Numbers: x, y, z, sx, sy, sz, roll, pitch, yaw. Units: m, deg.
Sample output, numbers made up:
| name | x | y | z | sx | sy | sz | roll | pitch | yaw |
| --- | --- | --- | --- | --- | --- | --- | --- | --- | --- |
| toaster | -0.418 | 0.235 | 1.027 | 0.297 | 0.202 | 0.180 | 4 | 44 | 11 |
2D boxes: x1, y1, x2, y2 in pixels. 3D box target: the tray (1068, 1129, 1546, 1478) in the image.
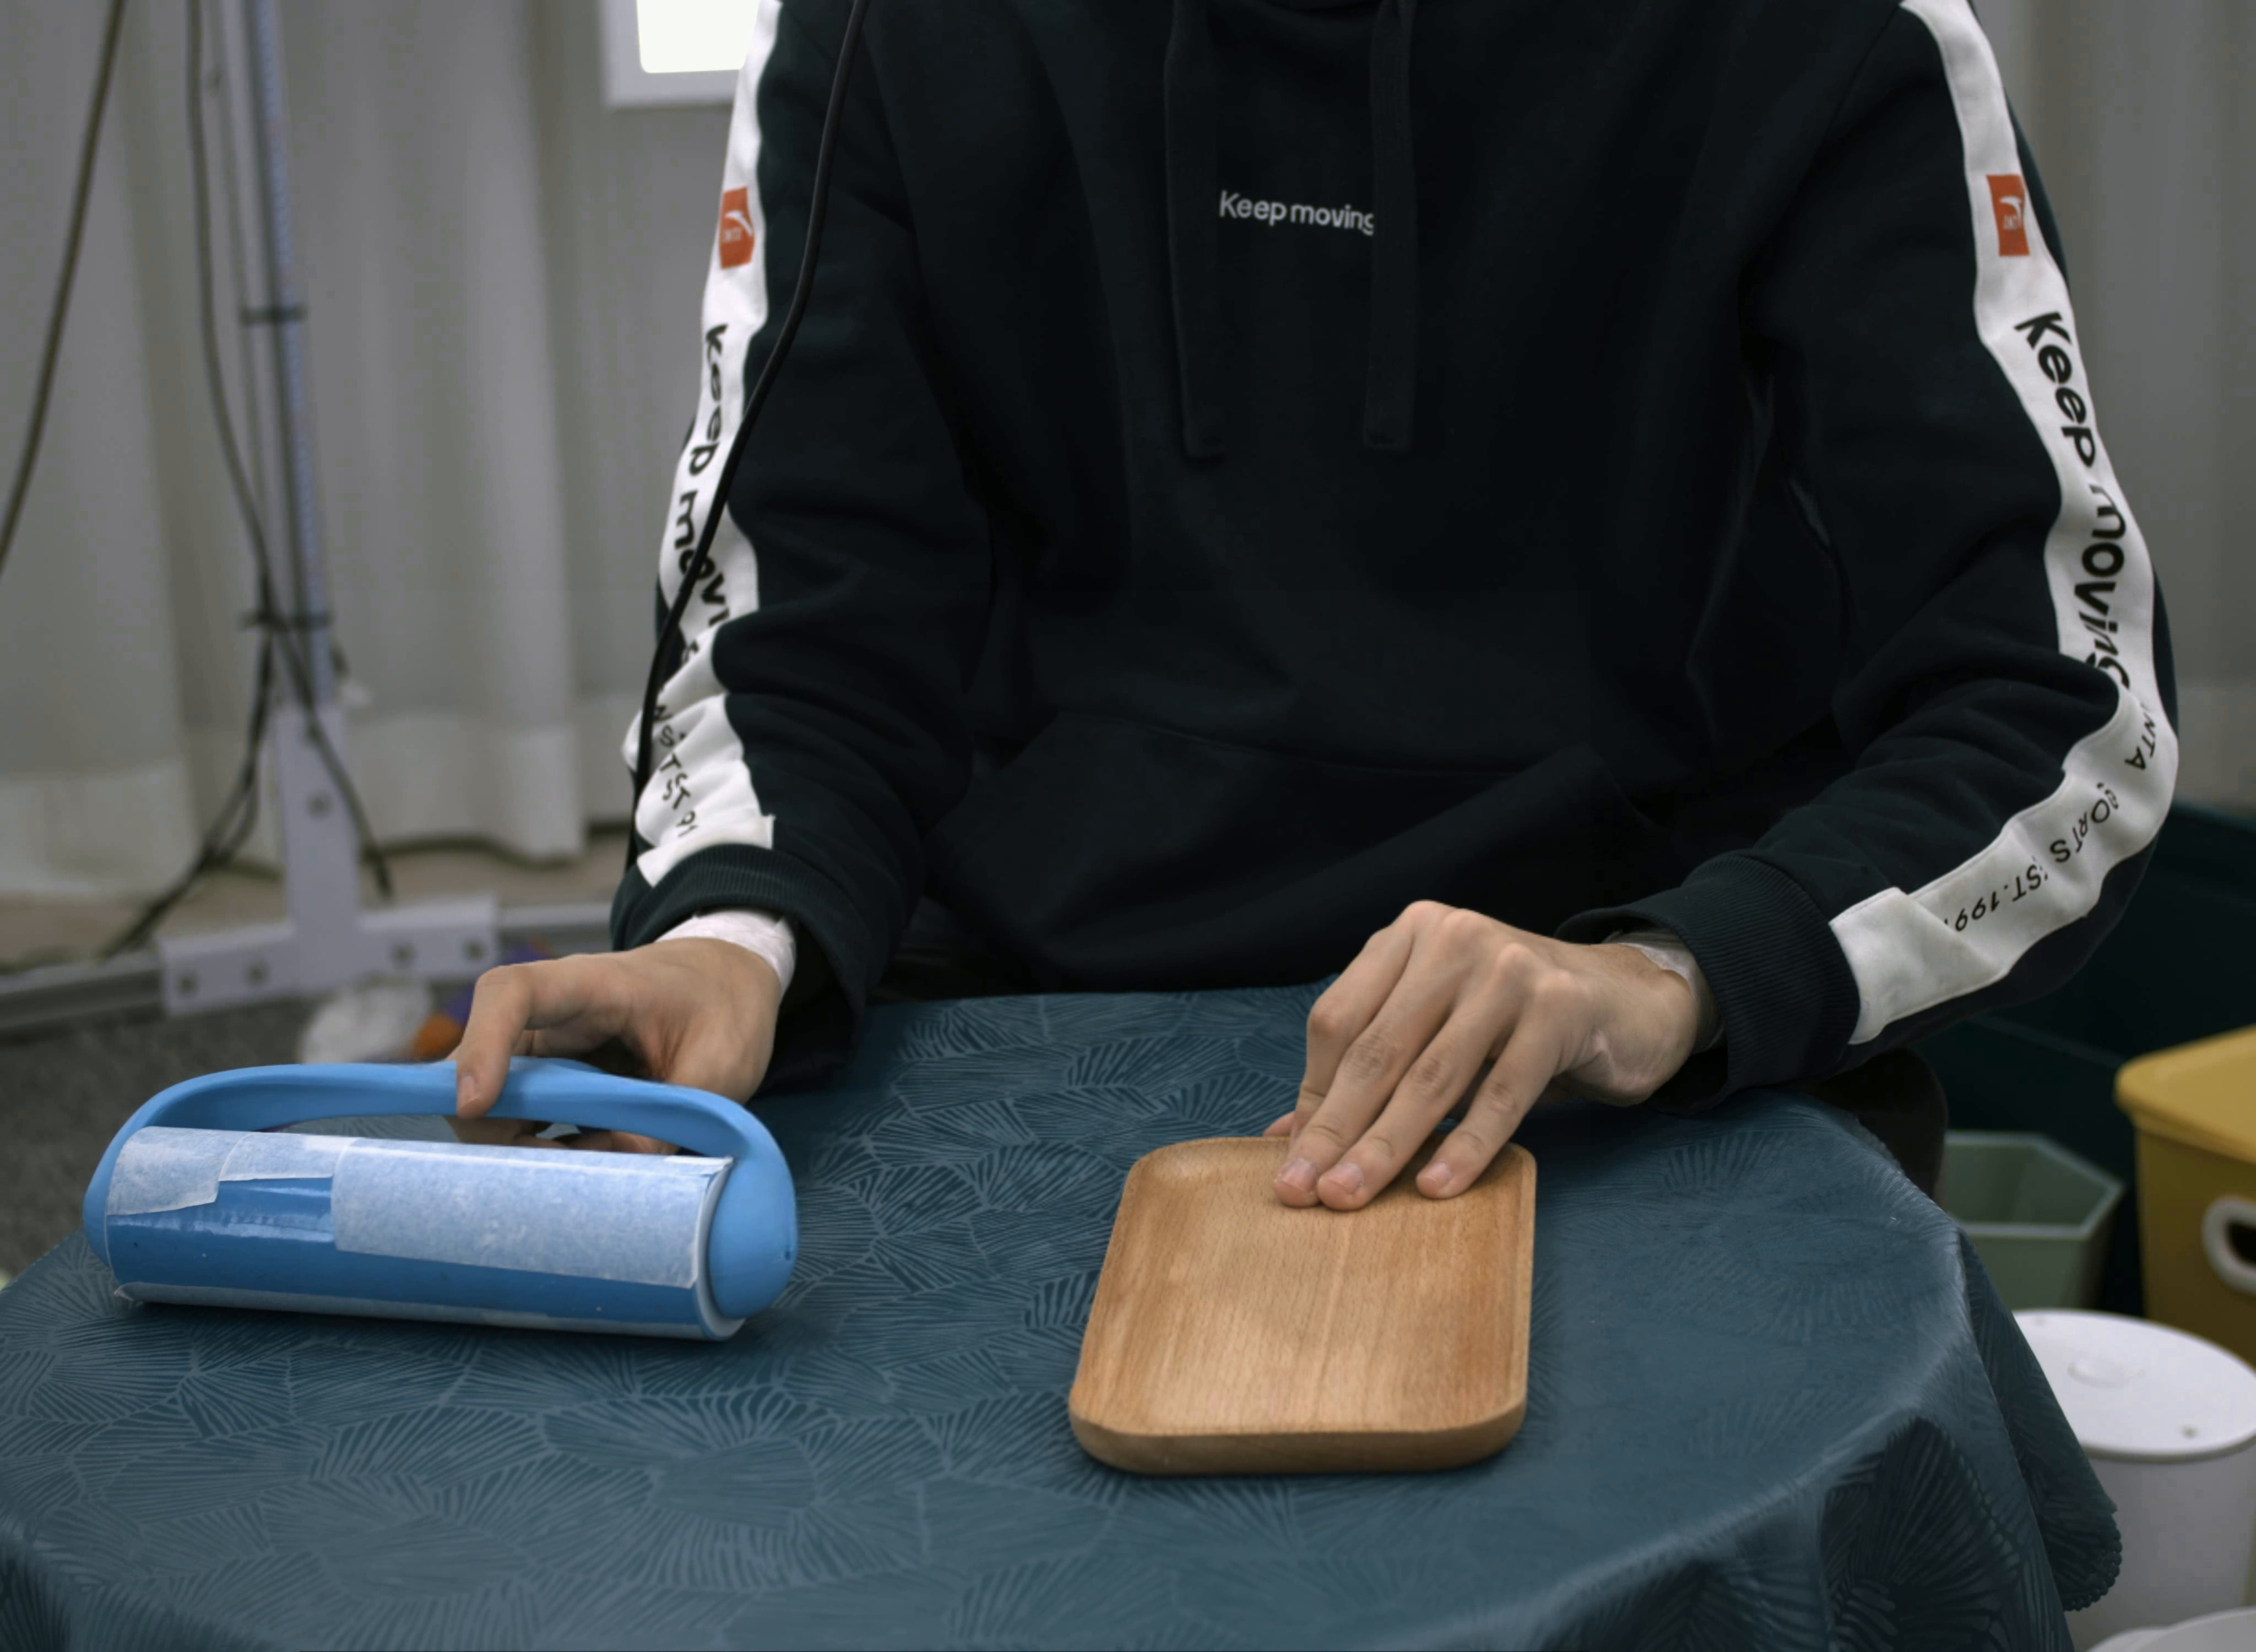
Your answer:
| name | x | y | z | sx | sy | sz | roll | pitch | yaw |
| --- | --- | --- | --- | --- | --- | --- | --- | --- | --- |
| tray | 0.056 | 0.136 | 1.589 | 0.130 | 0.023 | 0.252 | 1 | 15 | 6 |

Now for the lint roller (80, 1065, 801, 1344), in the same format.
| name | x | y | z | sx | sy | sz | roll | pitch | yaw |
| --- | --- | --- | --- | --- | --- | --- | --- | --- | --- |
| lint roller | -0.191 | 0.104 | 1.682 | 0.229 | 0.067 | 0.181 | 0 | 16 | 16 |
